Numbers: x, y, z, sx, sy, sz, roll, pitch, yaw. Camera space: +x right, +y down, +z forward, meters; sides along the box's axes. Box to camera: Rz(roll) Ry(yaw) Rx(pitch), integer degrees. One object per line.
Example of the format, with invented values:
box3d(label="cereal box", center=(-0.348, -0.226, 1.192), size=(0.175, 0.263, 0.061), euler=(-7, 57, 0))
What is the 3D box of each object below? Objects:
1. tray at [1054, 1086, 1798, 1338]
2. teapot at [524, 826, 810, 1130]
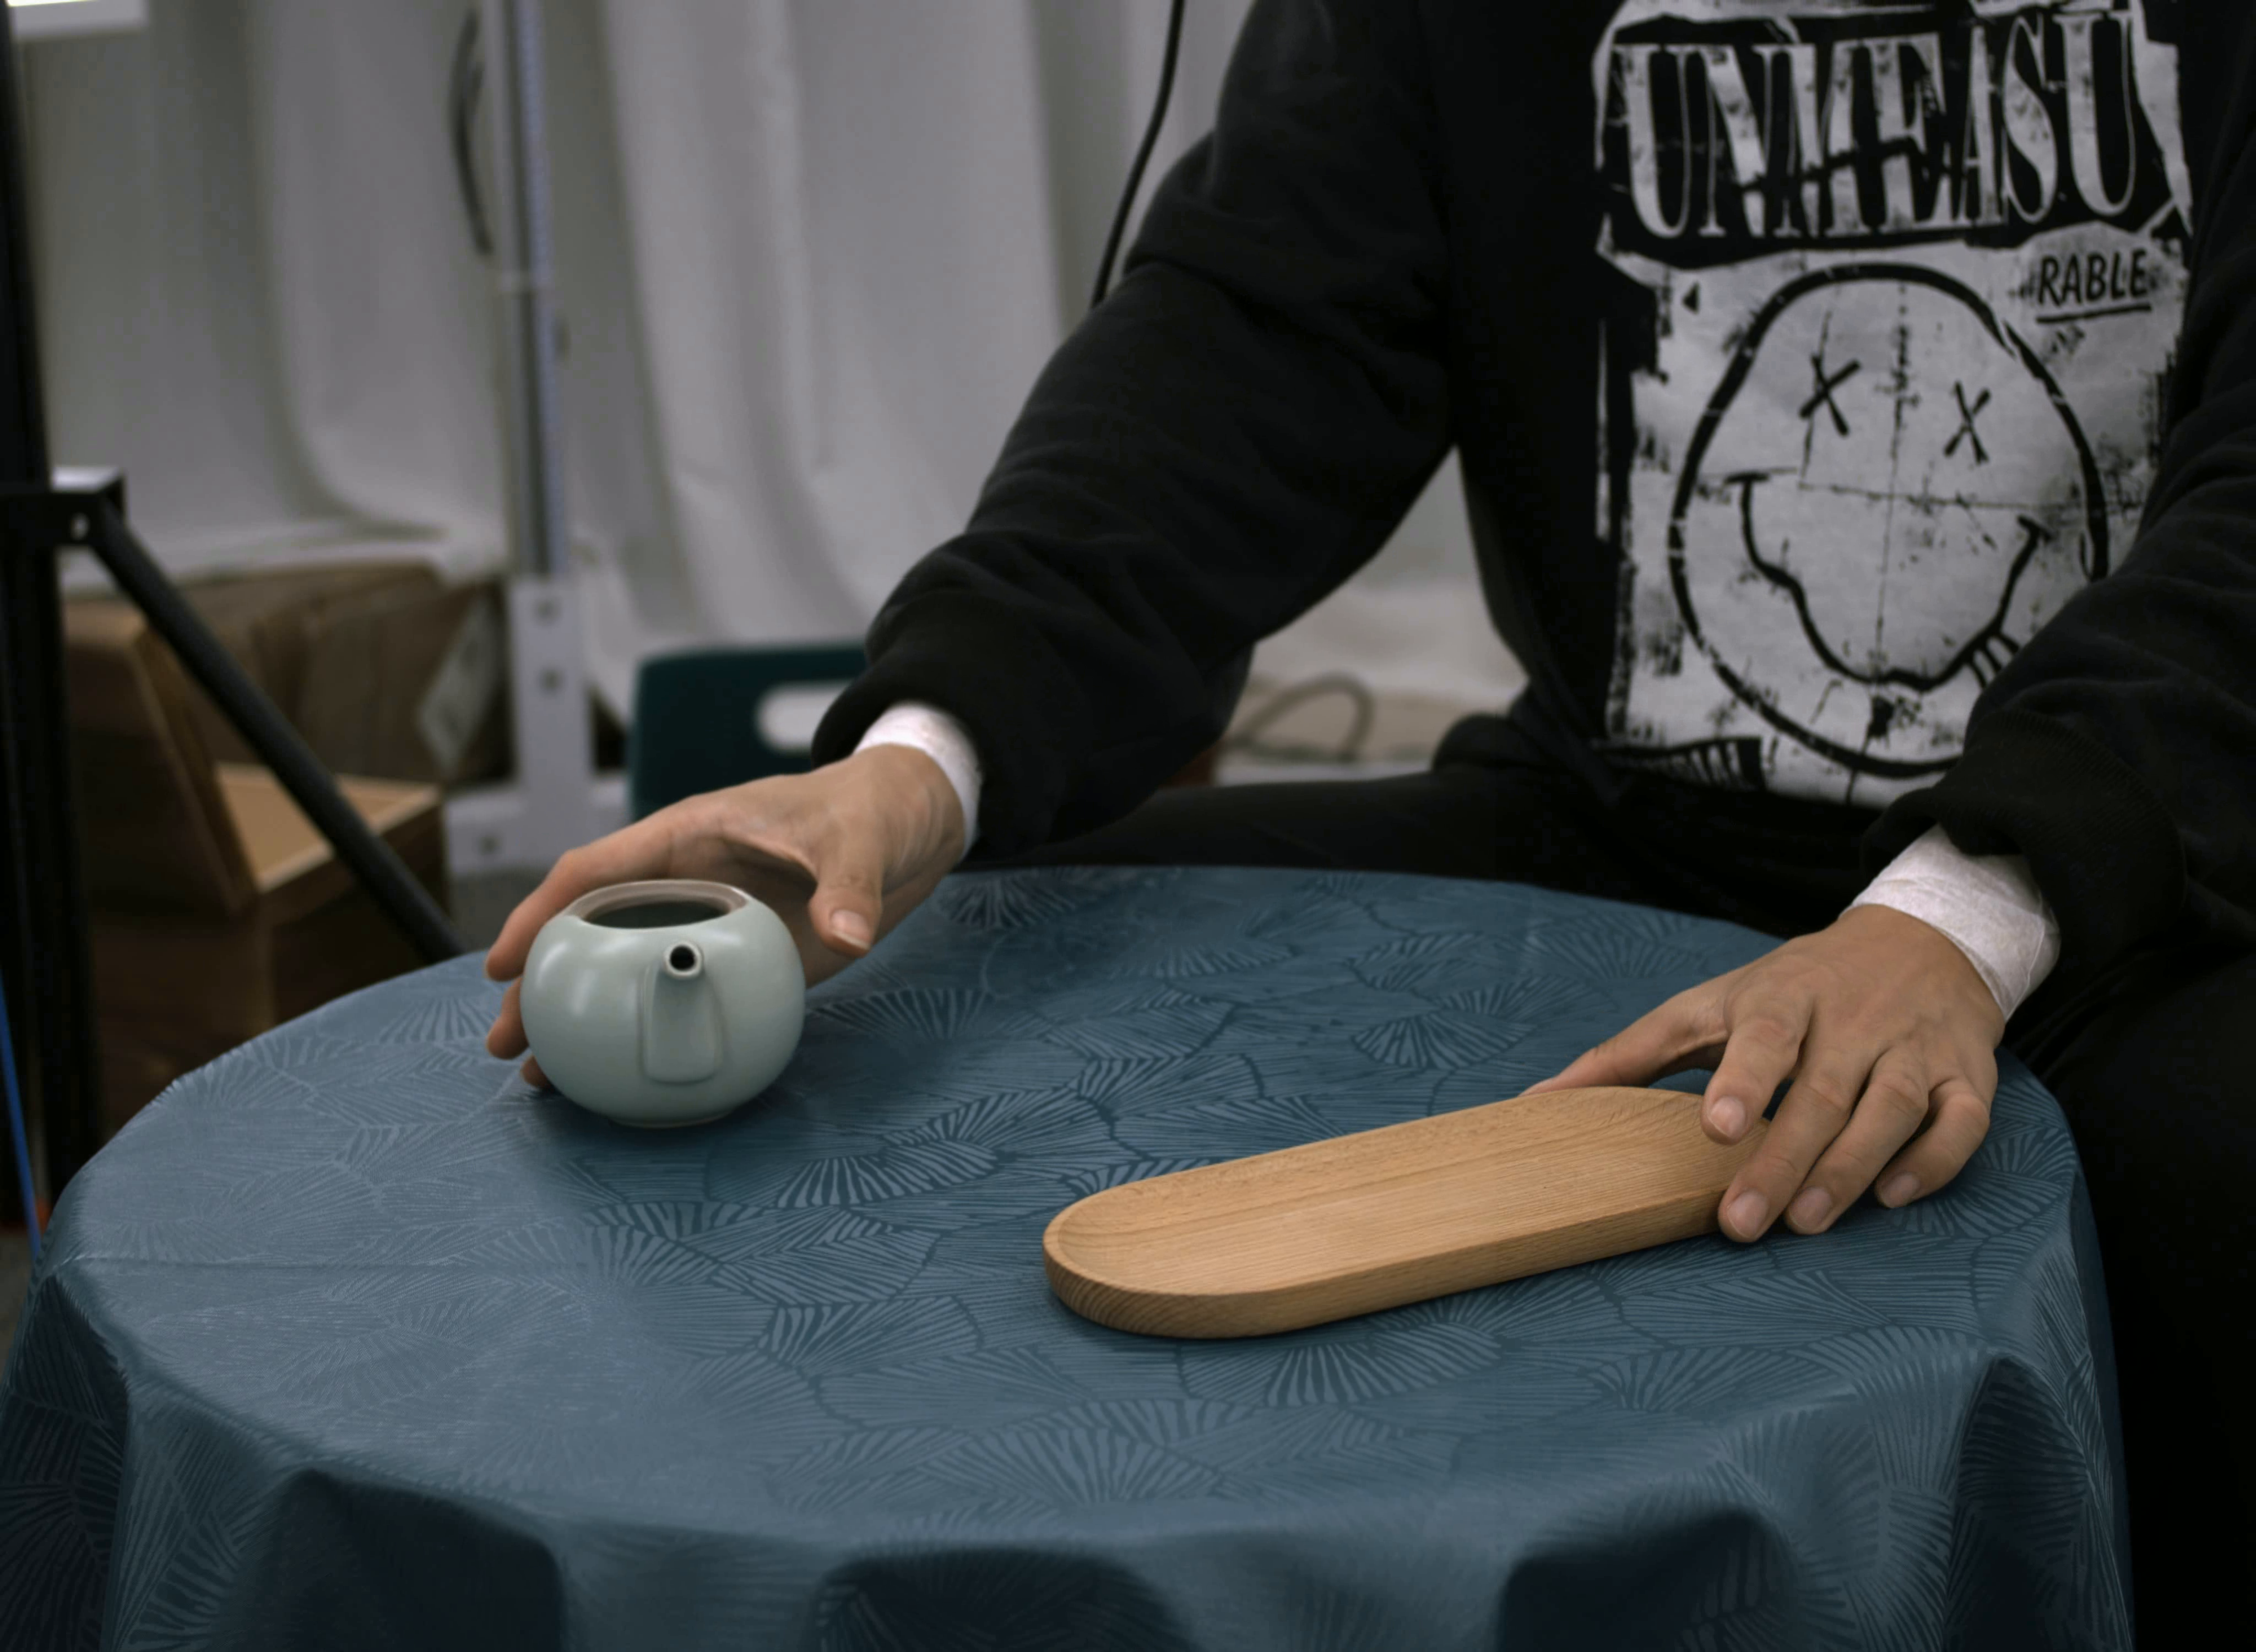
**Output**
box3d(label="tray", center=(0.087, 0.109, 1.507), size=(0.226, 0.020, 0.104), euler=(-9, 18, -26))
box3d(label="teapot", center=(-0.142, 0.053, 1.643), size=(0.087, 0.075, 0.145), euler=(-4, 17, -8))
